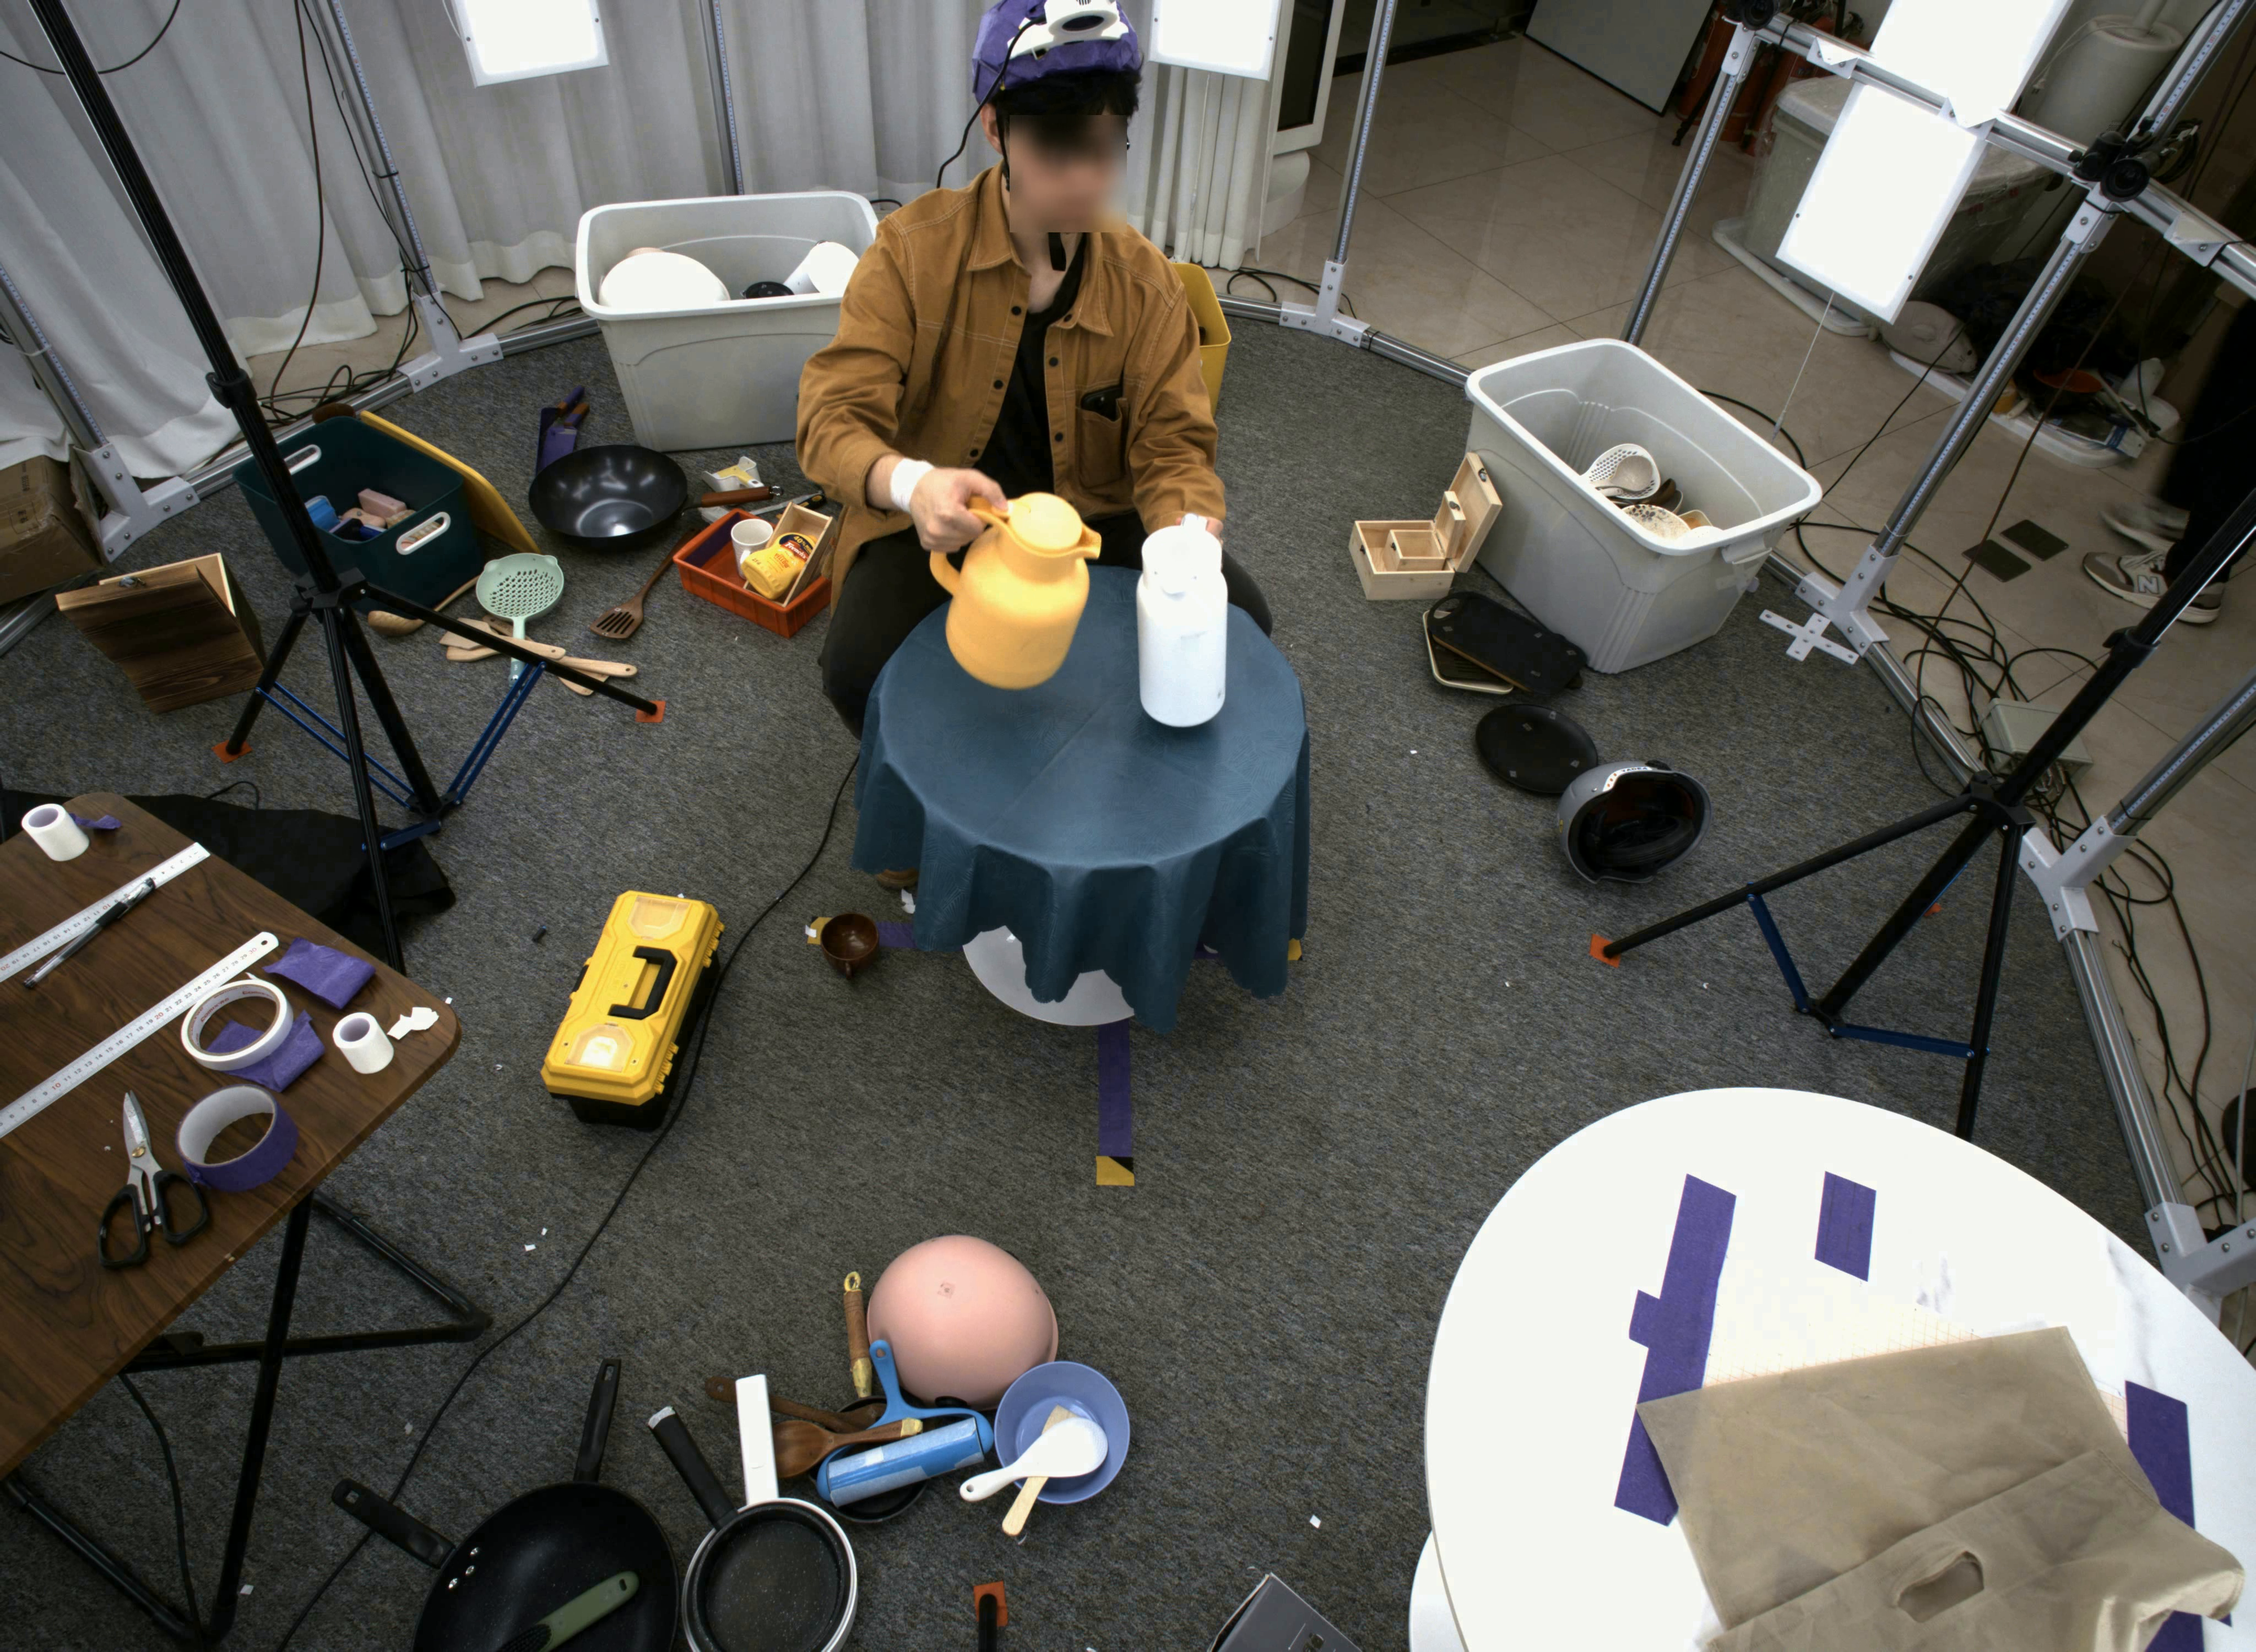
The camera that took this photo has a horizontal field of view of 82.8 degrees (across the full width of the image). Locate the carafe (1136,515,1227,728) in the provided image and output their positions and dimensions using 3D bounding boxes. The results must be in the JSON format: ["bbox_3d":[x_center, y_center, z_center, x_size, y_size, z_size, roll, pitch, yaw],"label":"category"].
[{"bbox_3d":[0.073,-0.271,1.694,0.124,0.262,0.177,6,51,11],"label":"carafe"}]

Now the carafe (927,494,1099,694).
[{"bbox_3d":[-0.152,-0.302,1.606,0.202,0.255,0.167,21,52,-6],"label":"carafe"}]
